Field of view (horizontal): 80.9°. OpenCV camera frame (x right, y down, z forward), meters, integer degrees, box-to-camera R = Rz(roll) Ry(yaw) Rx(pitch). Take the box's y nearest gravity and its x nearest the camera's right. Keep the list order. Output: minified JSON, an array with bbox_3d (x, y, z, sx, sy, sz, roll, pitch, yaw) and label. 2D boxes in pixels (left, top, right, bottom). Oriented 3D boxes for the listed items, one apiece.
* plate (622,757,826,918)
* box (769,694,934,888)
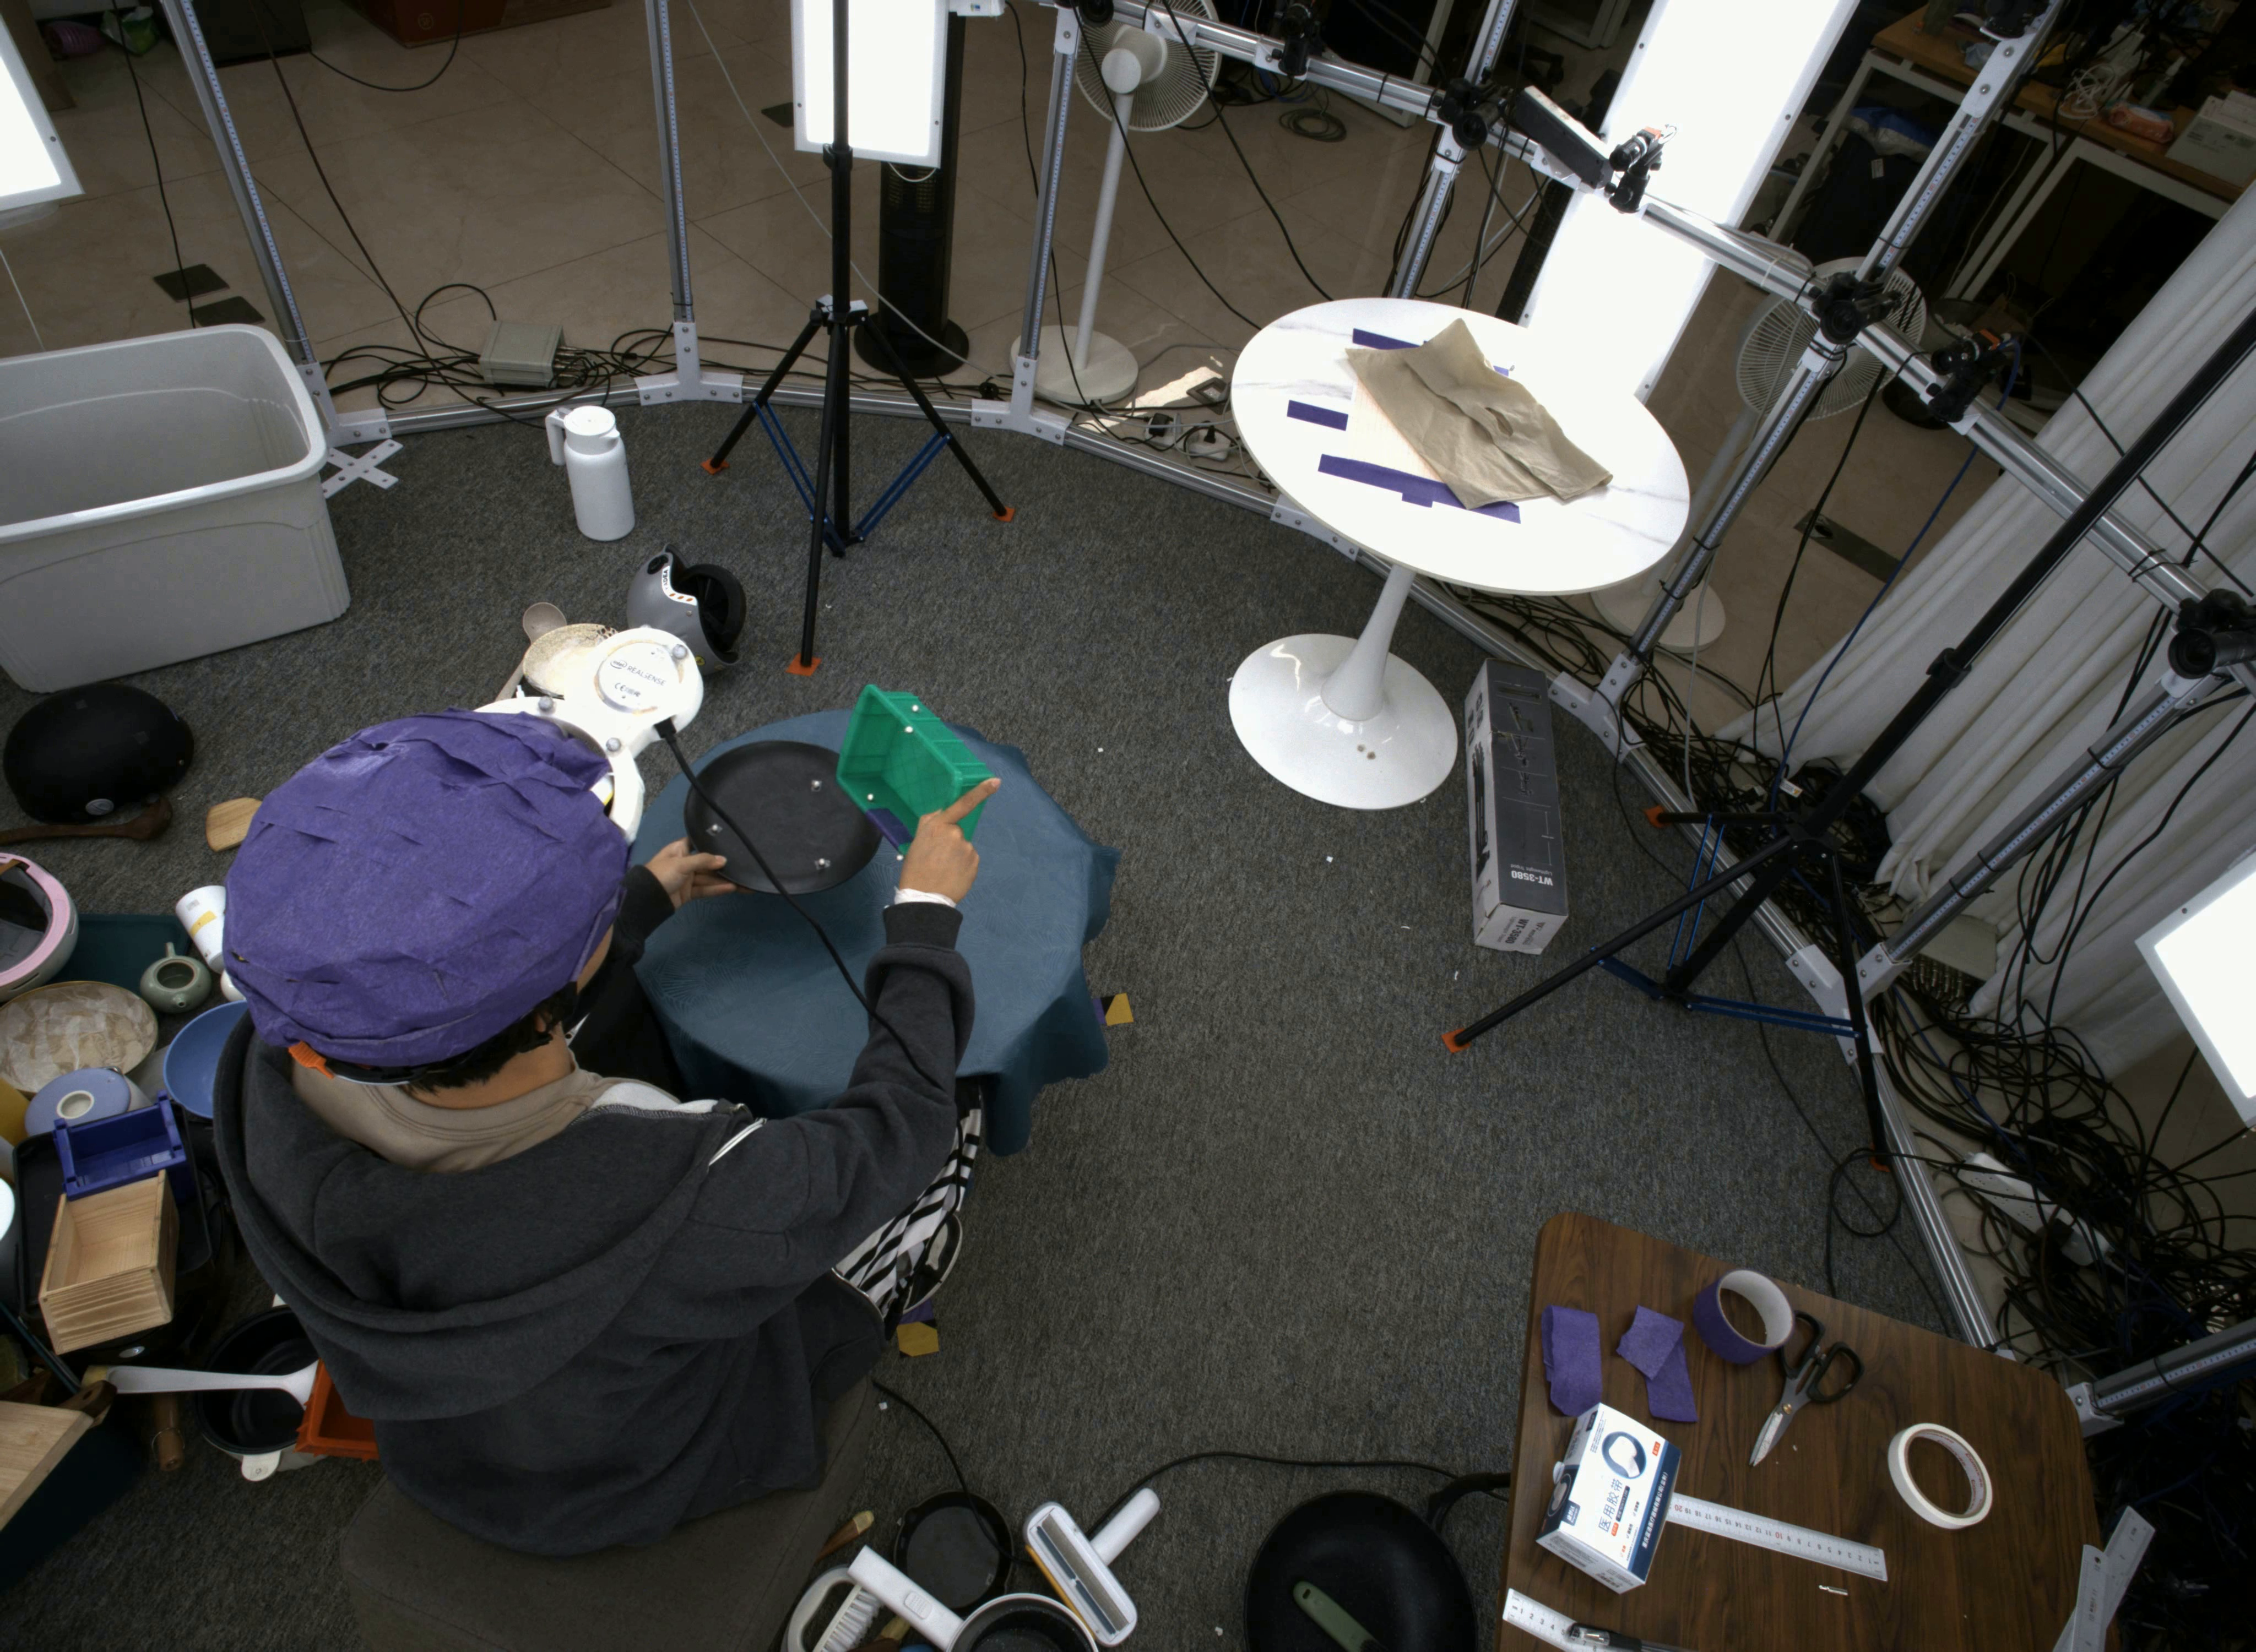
[{"bbox_3d":[-0.491,0.014,1.573,0.245,0.024,0.240,12,51,-13],"label":"plate"},{"bbox_3d":[-0.308,-0.044,1.446,0.204,0.141,0.066,35,30,27],"label":"box"}]
